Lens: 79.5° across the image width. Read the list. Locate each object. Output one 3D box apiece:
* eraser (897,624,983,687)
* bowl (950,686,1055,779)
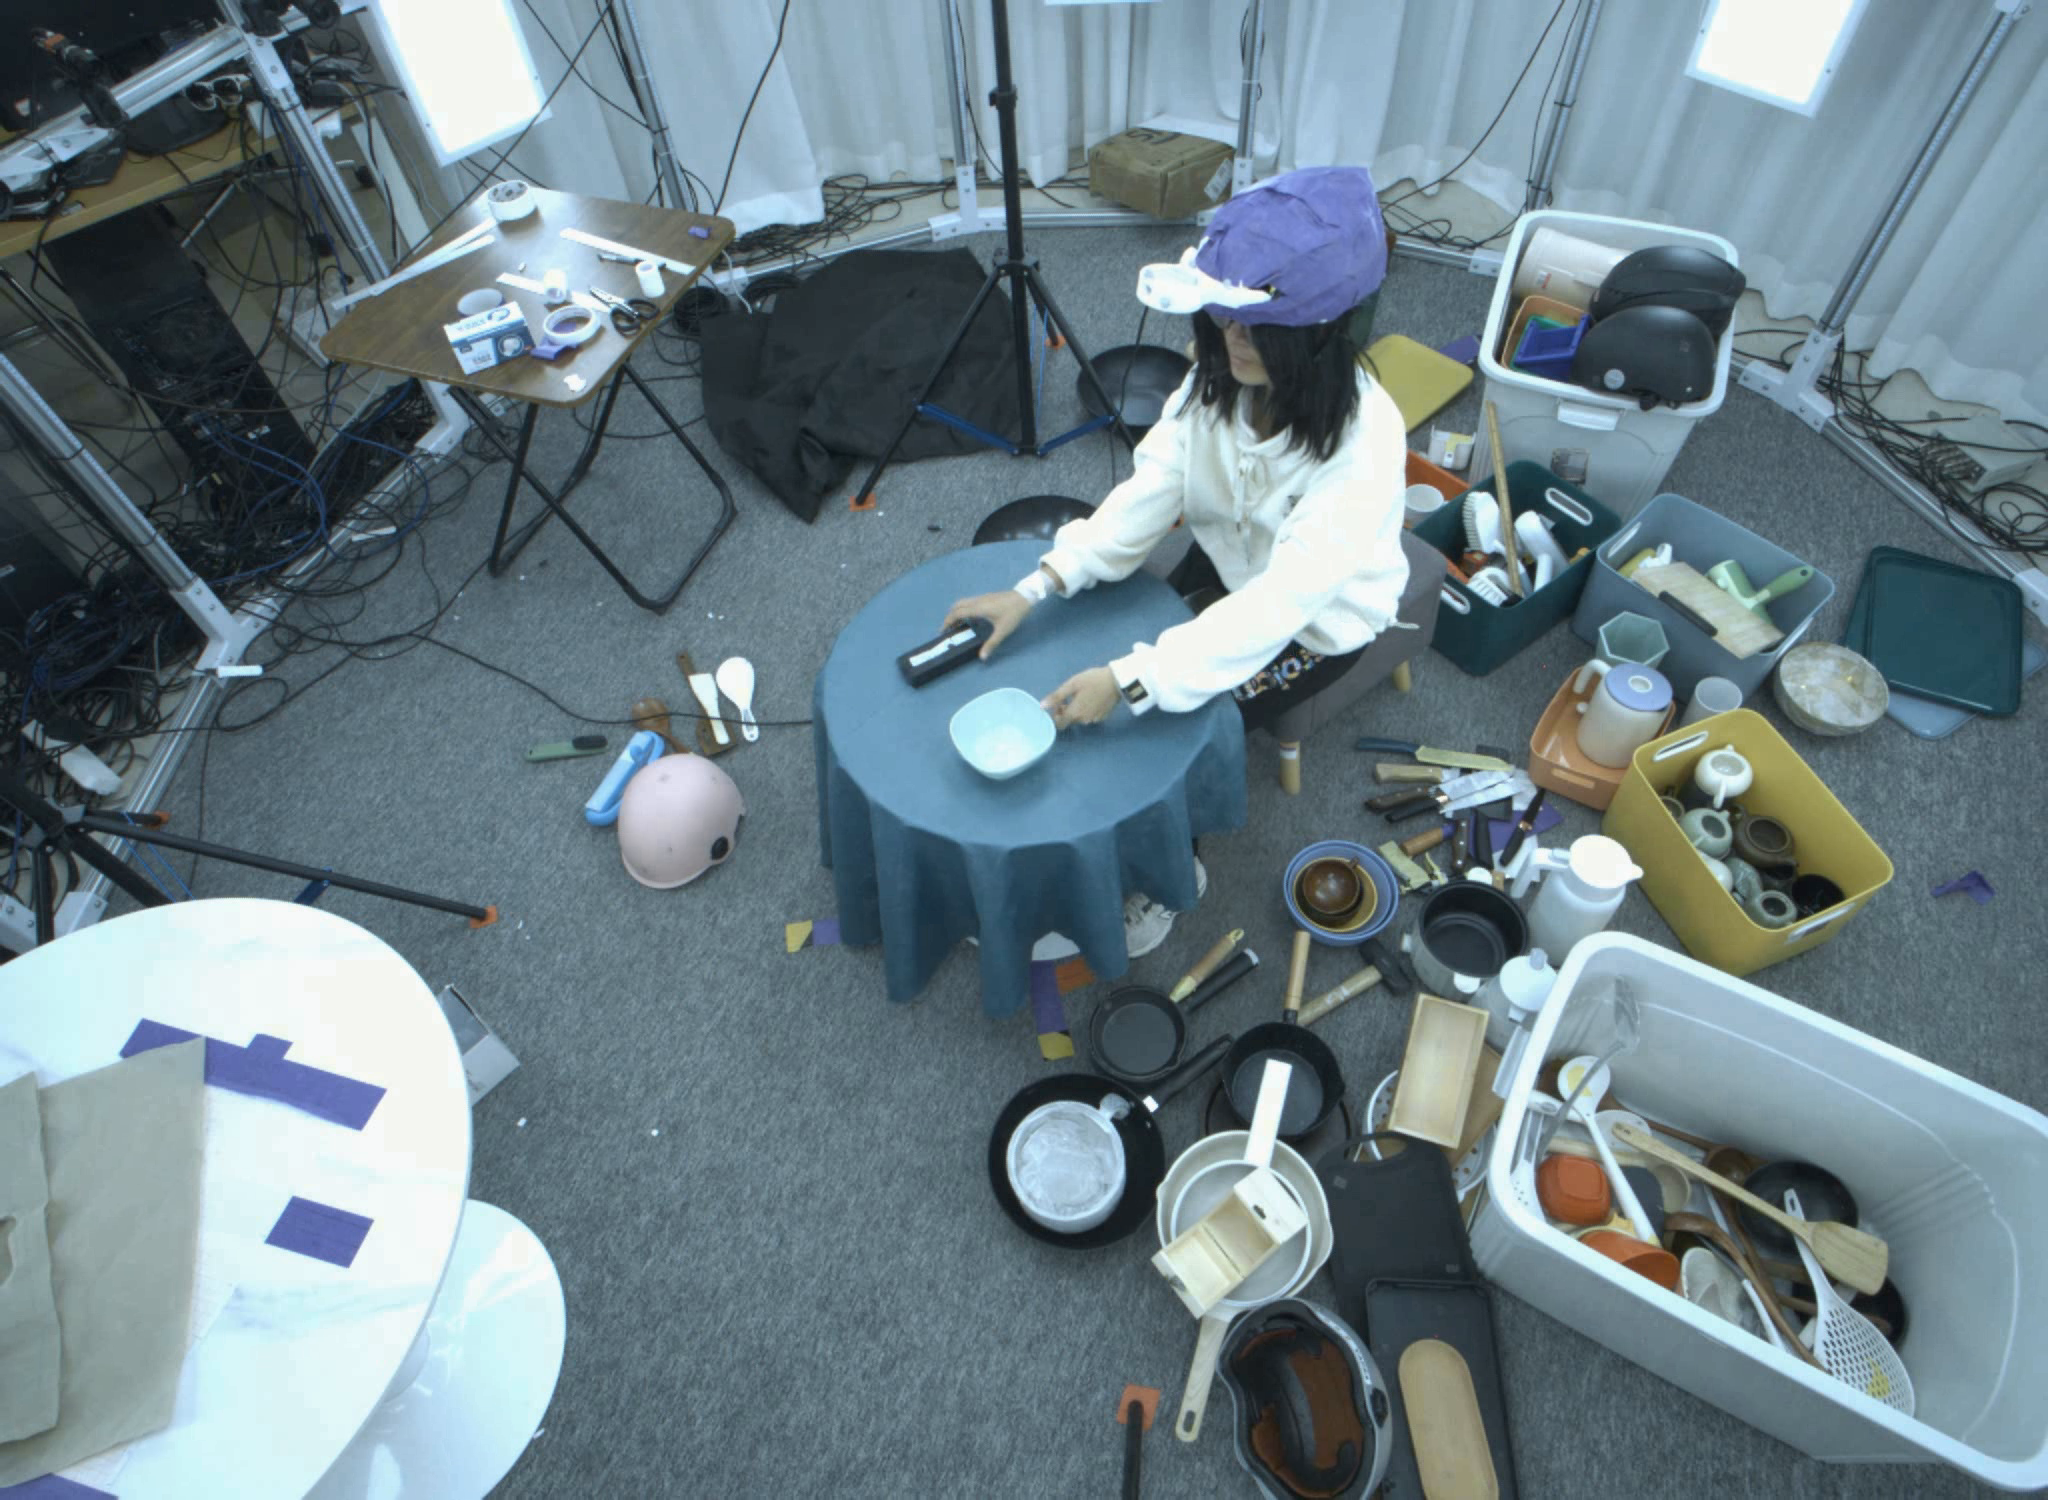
[{"bbox_3d":[-0.129,-0.145,1.879,0.126,0.031,0.052,-29,61,-20],"label":"eraser"},{"bbox_3d":[-0.030,-0.014,1.765,0.151,0.059,0.150,0,58,1],"label":"bowl"}]
